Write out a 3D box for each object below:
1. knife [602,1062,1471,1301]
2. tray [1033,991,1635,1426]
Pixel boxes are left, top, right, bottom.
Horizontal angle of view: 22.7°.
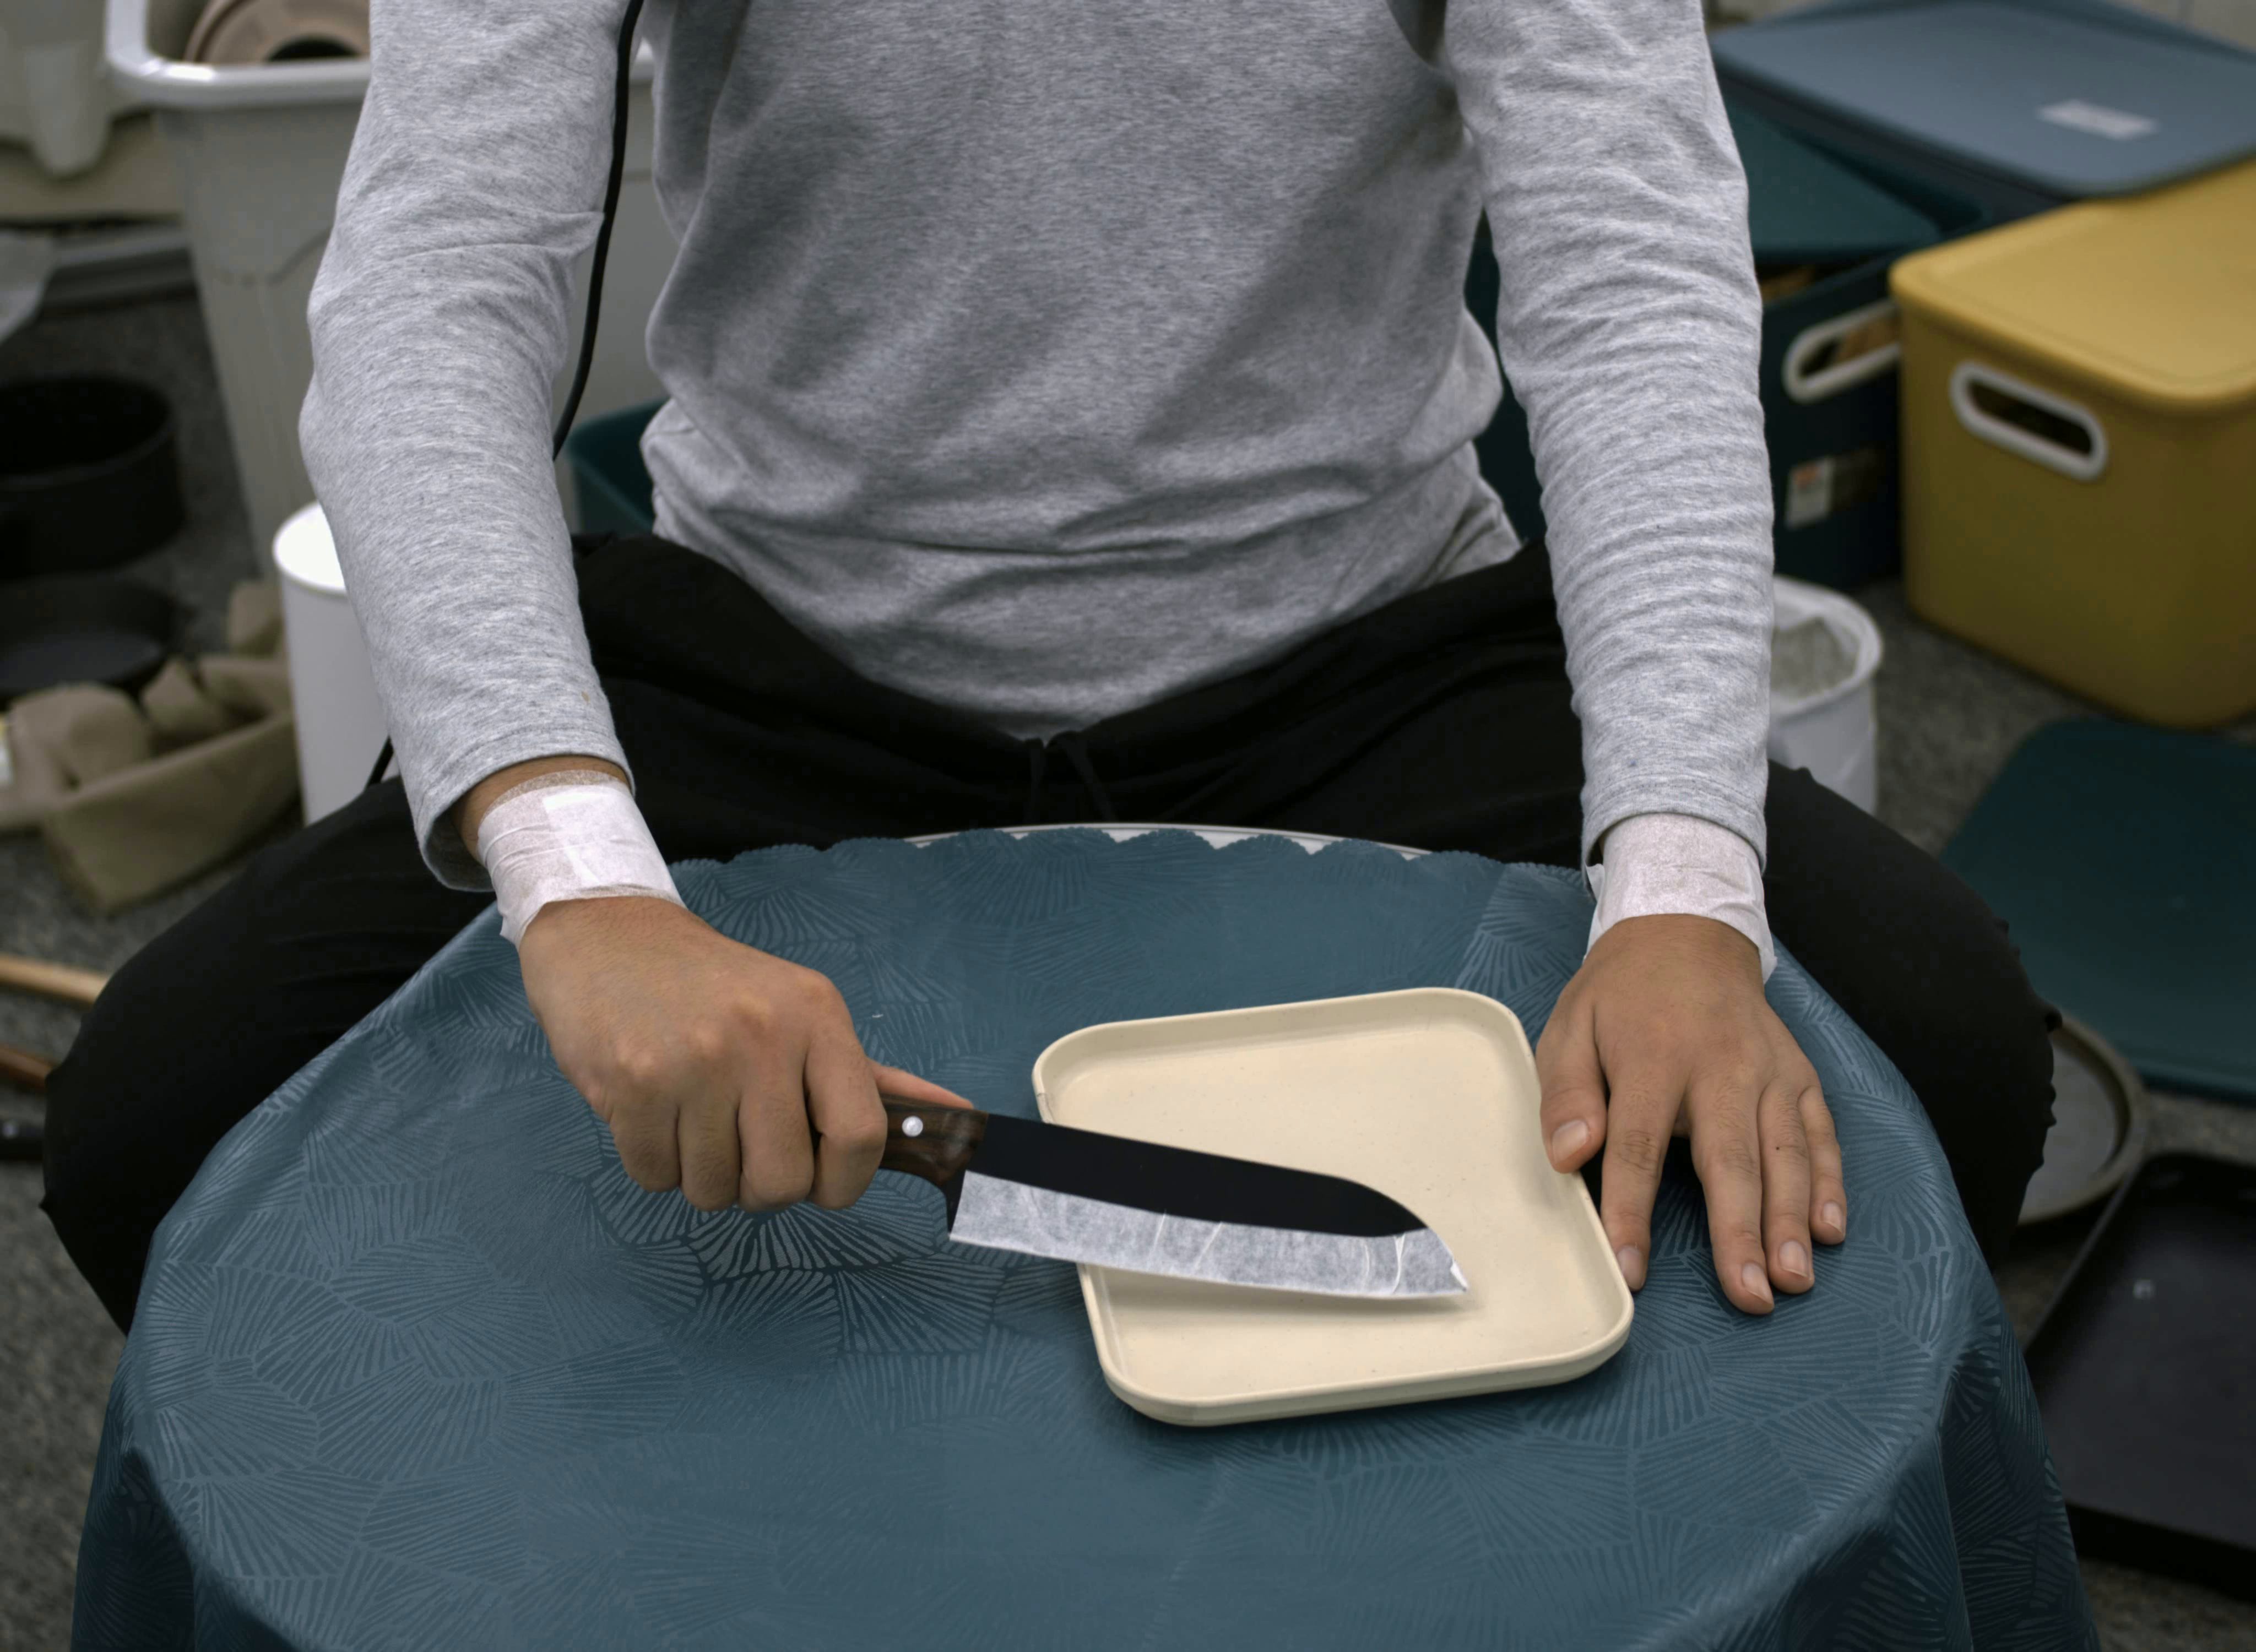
[{"bbox_3d":[-0.031,0.115,1.796,0.288,0.020,0.051,12,69,6],"label":"knife"},{"bbox_3d":[0.063,0.123,1.834,0.171,0.017,0.243,-5,27,-6],"label":"tray"}]
